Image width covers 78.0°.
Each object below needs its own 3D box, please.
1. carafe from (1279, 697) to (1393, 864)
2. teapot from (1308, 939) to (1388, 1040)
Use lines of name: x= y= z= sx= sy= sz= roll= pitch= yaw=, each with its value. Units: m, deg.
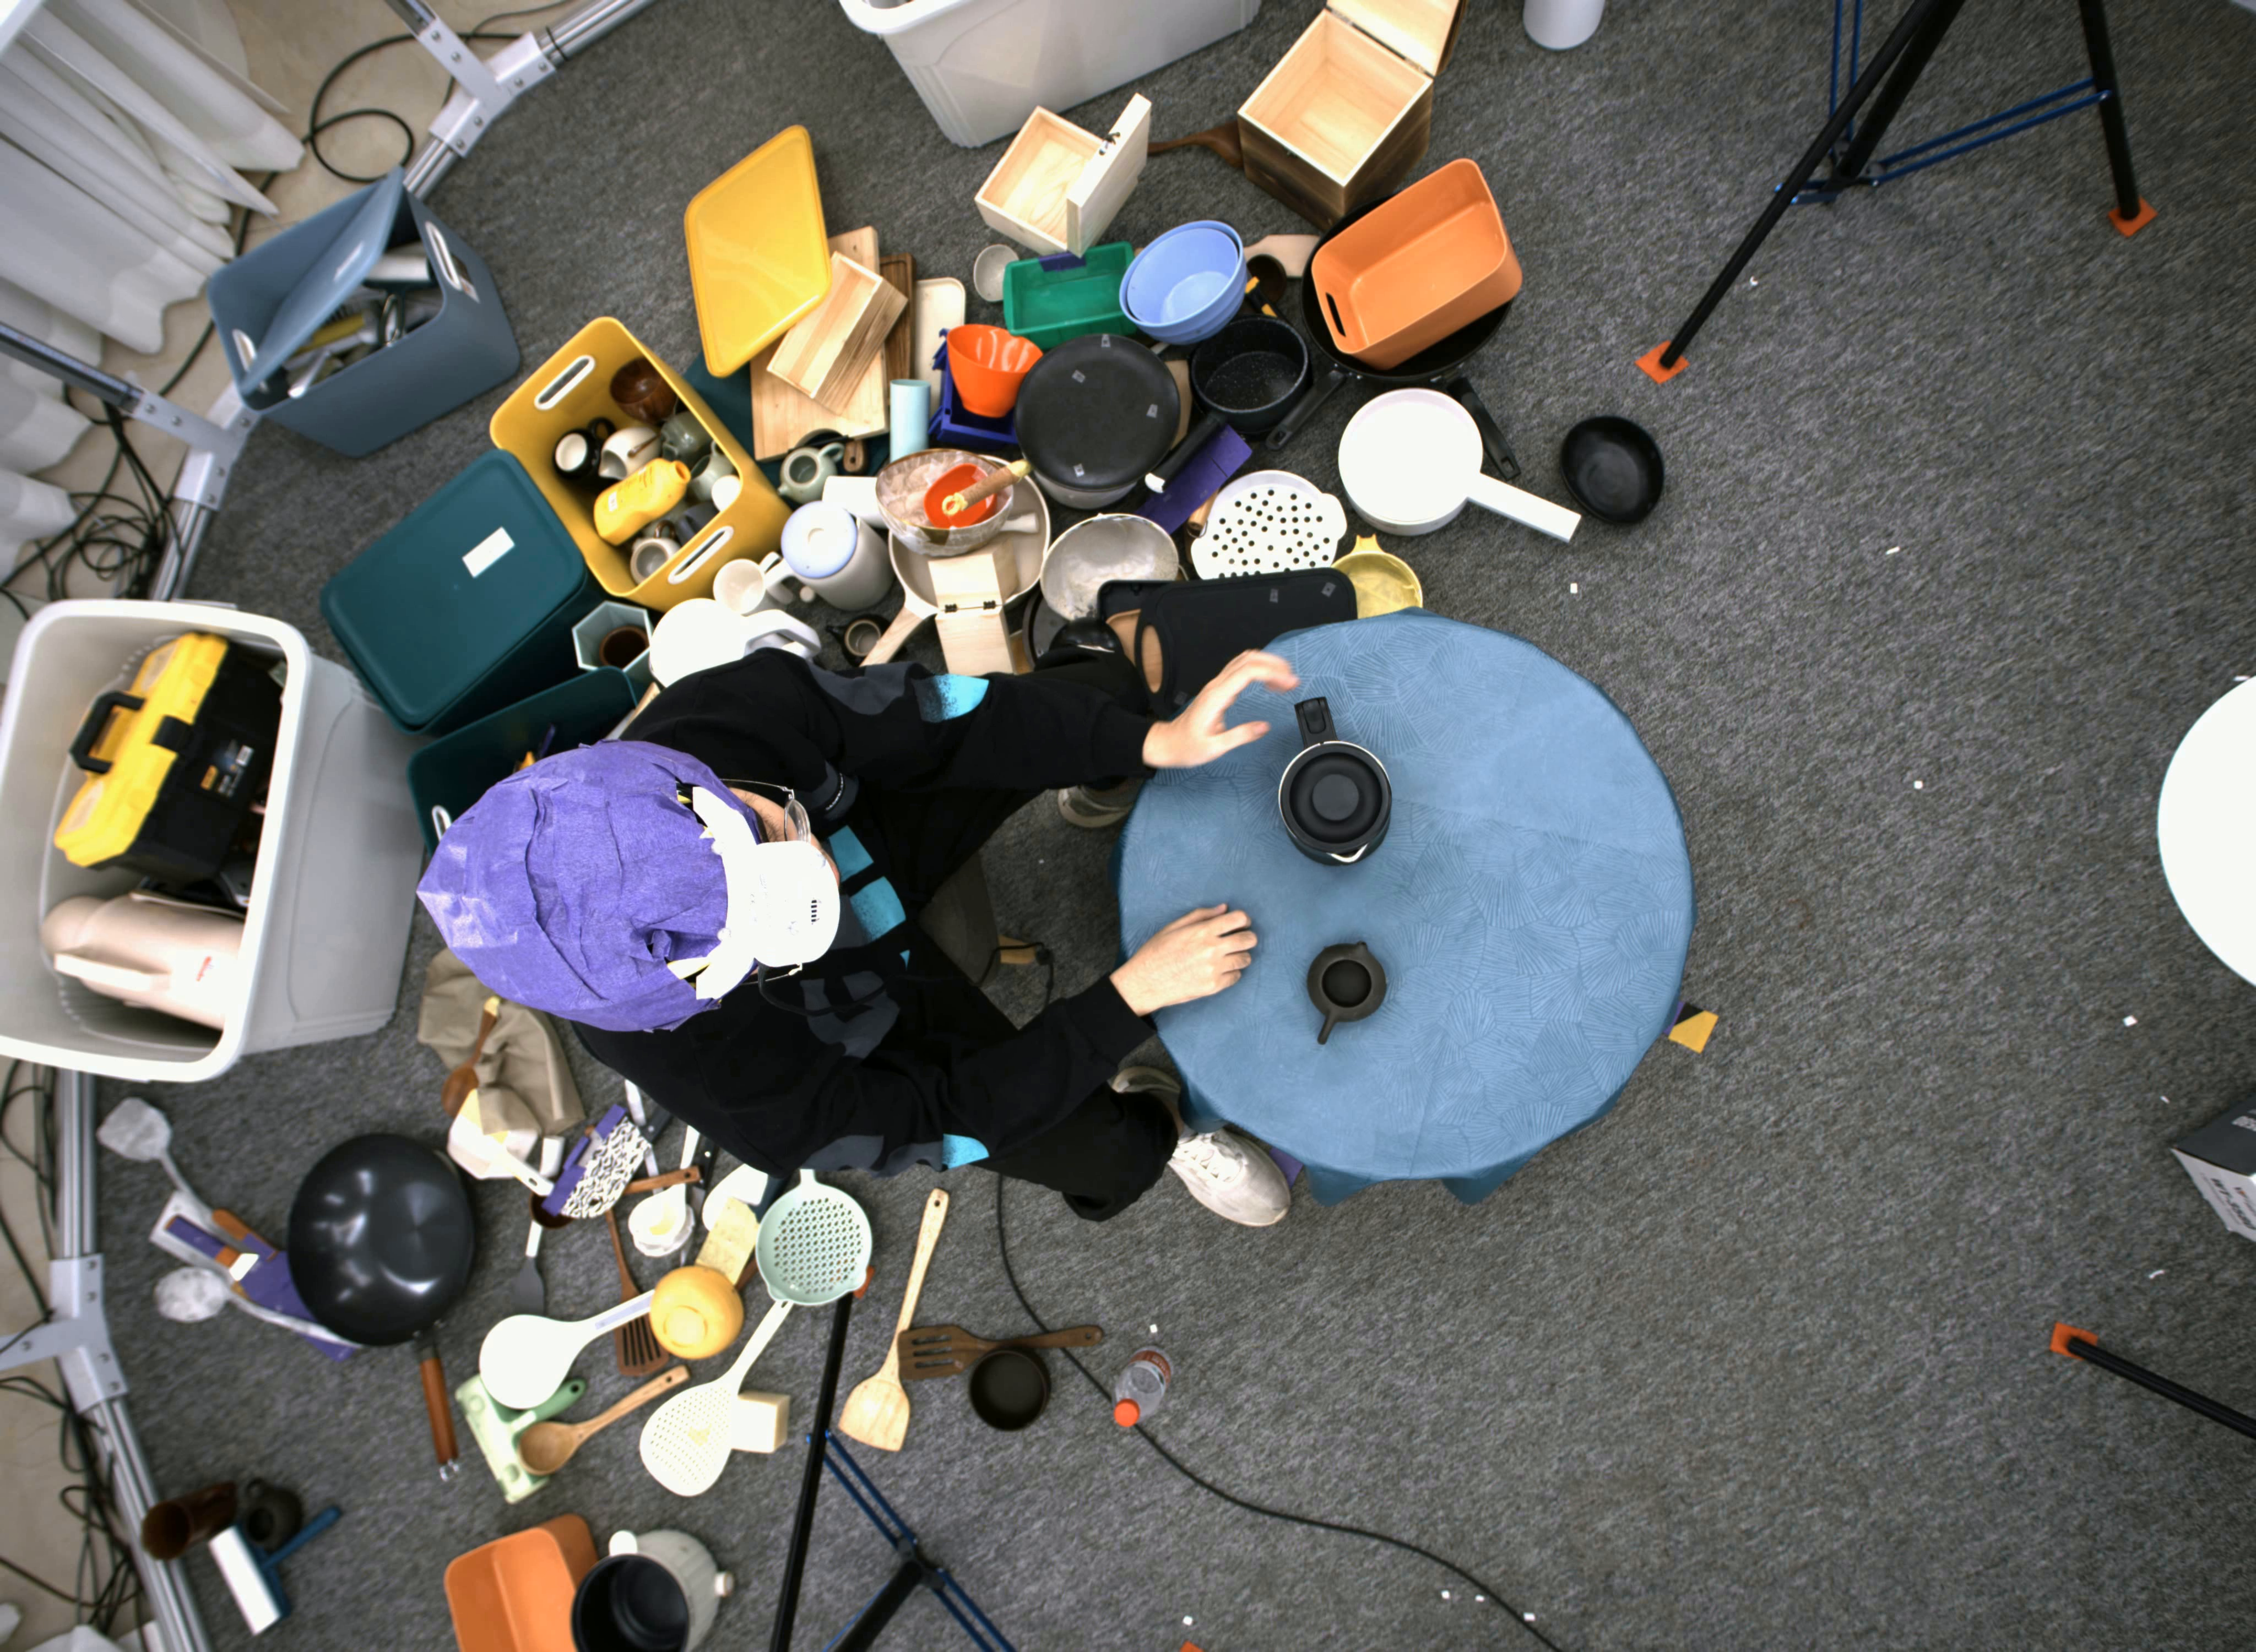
carafe: x=0.203 y=-0.044 z=1.387 sx=0.115 sy=0.173 sz=0.171 roll=-15 pitch=86 yaw=10
teapot: x=0.222 y=0.169 z=1.434 sx=0.083 sy=0.053 sz=0.114 roll=28 pitch=89 yaw=12
